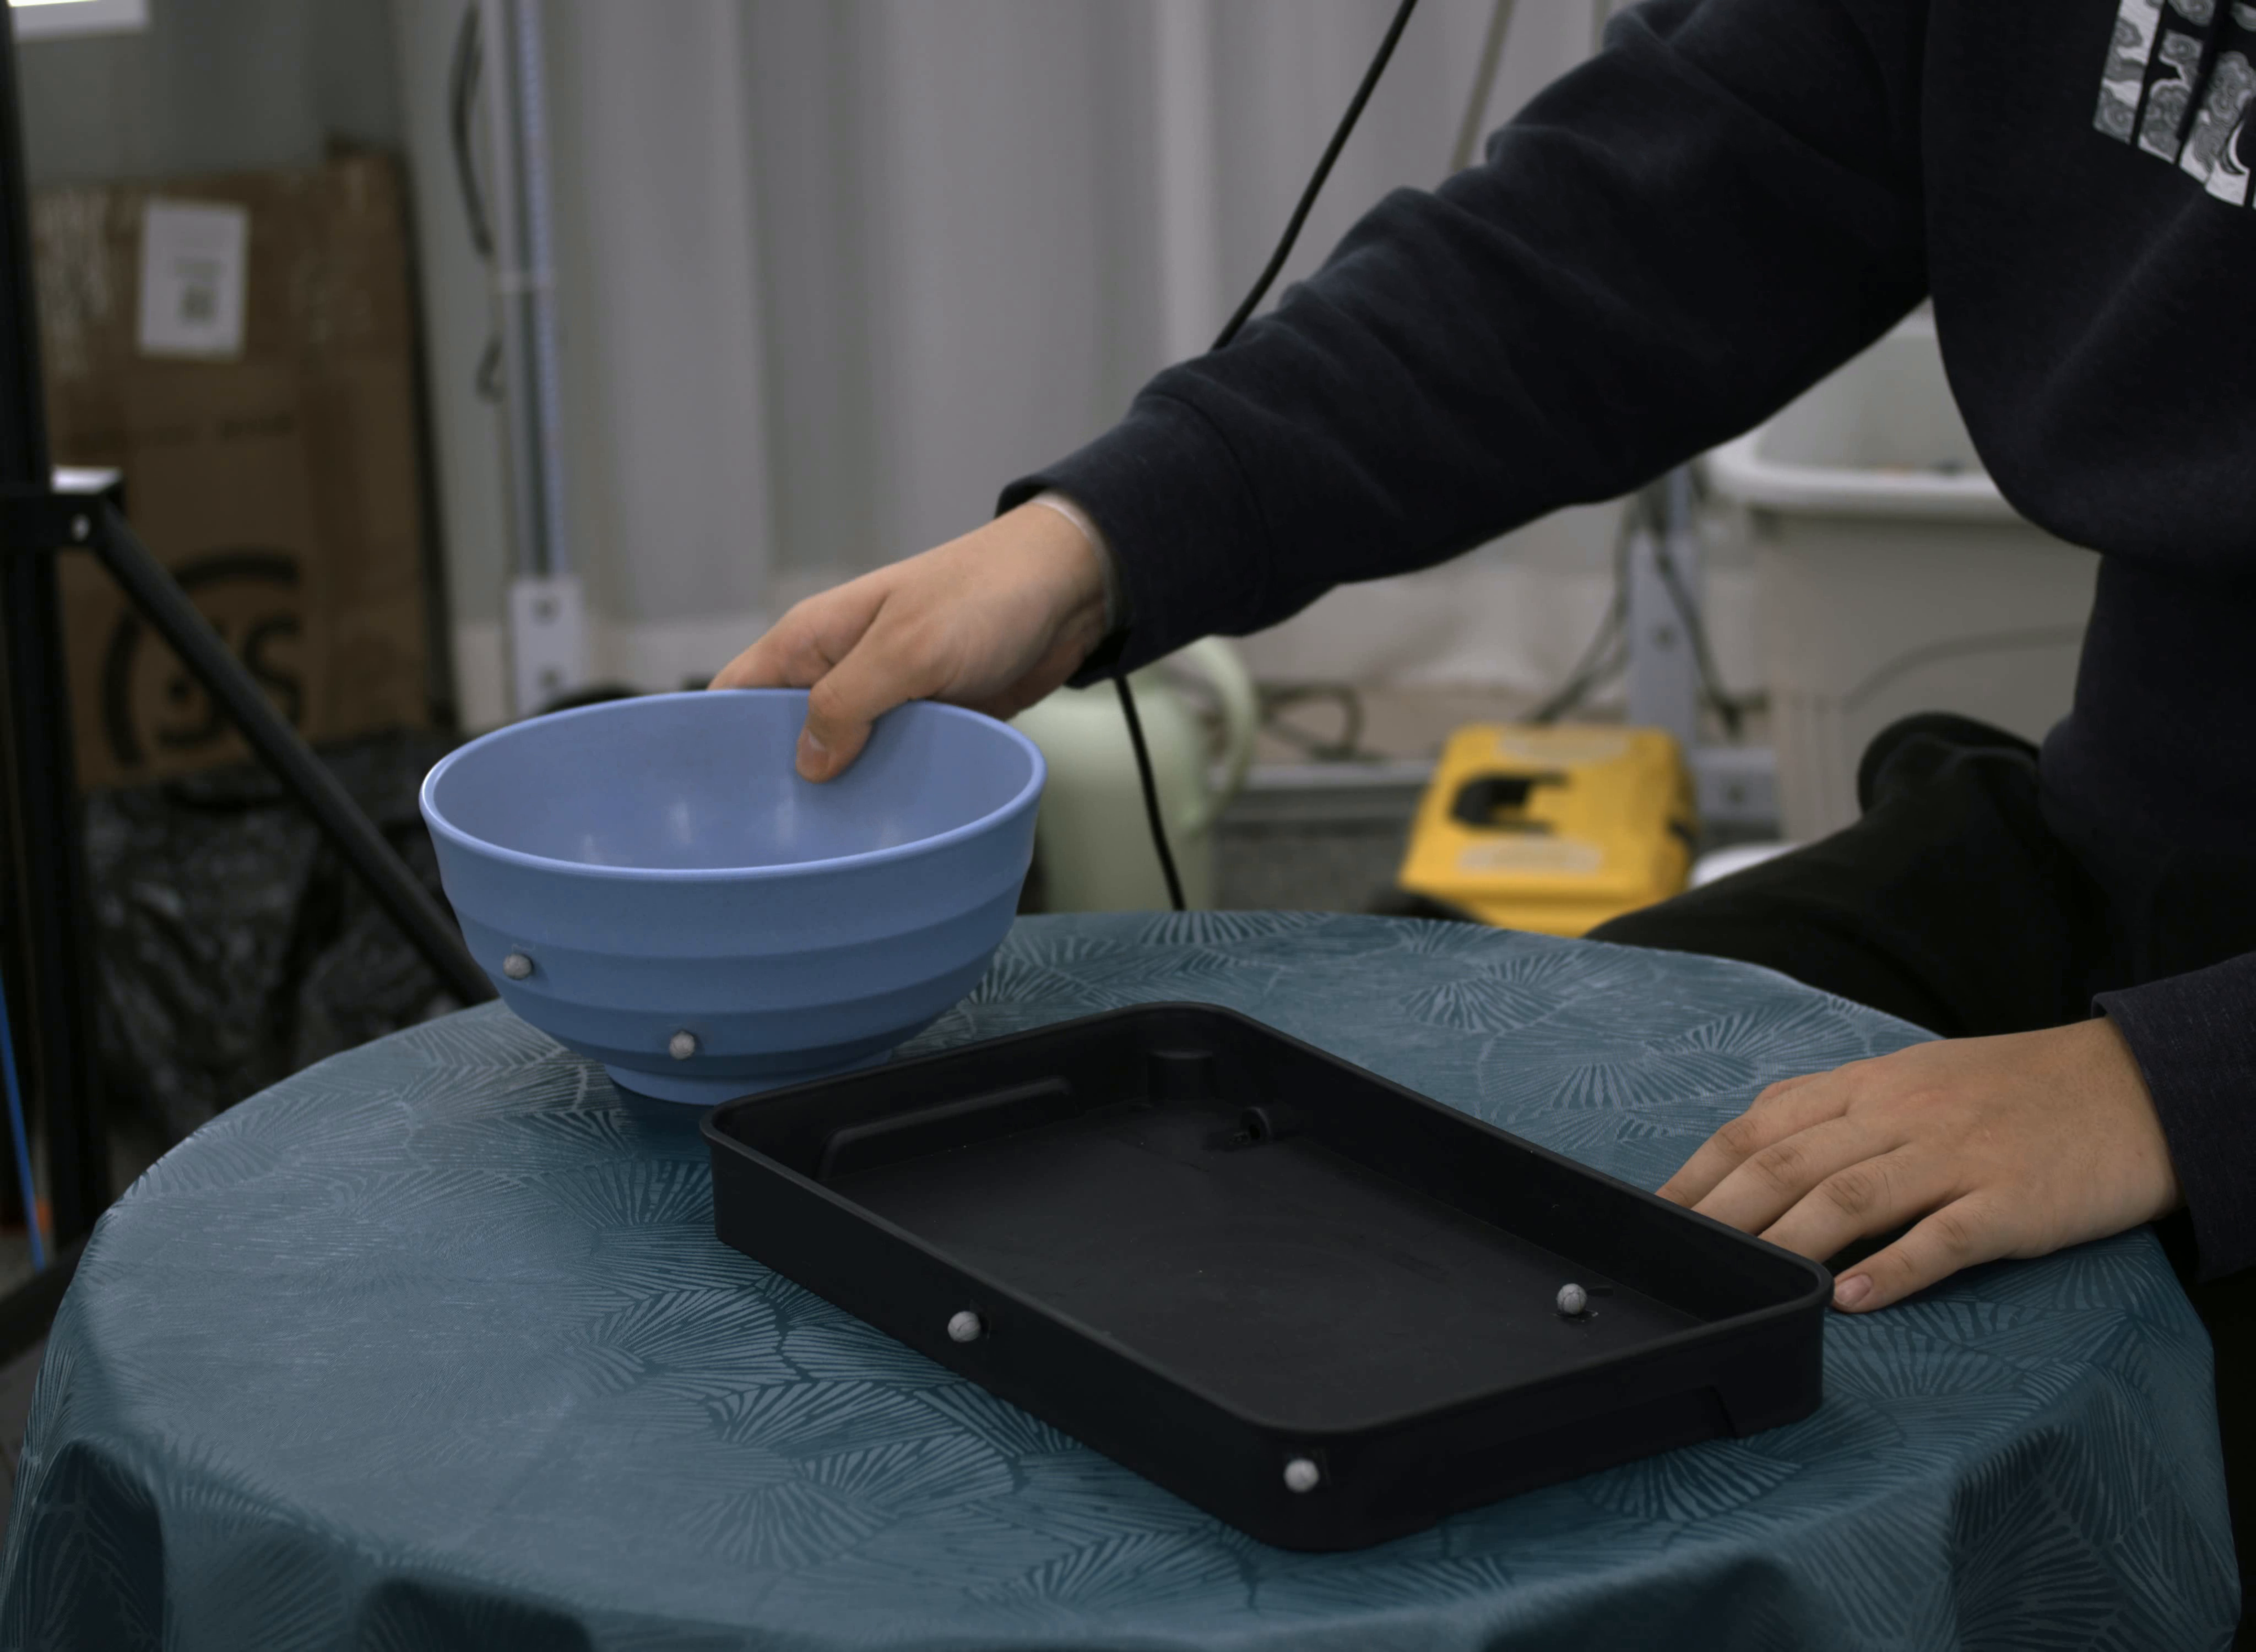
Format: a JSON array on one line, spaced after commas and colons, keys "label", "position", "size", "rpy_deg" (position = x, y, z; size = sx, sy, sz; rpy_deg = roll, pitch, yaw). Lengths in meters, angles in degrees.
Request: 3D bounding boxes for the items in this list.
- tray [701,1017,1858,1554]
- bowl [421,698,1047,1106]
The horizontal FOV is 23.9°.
[{"label": "tray", "position": [0.034, 0.119, 1.453], "size": [0.180, 0.037, 0.325], "rpy_deg": [-12, 17, -32]}, {"label": "bowl", "position": [-0.121, 0.029, 1.678], "size": [0.195, 0.095, 0.197], "rpy_deg": [-3, 16, -1]}]
